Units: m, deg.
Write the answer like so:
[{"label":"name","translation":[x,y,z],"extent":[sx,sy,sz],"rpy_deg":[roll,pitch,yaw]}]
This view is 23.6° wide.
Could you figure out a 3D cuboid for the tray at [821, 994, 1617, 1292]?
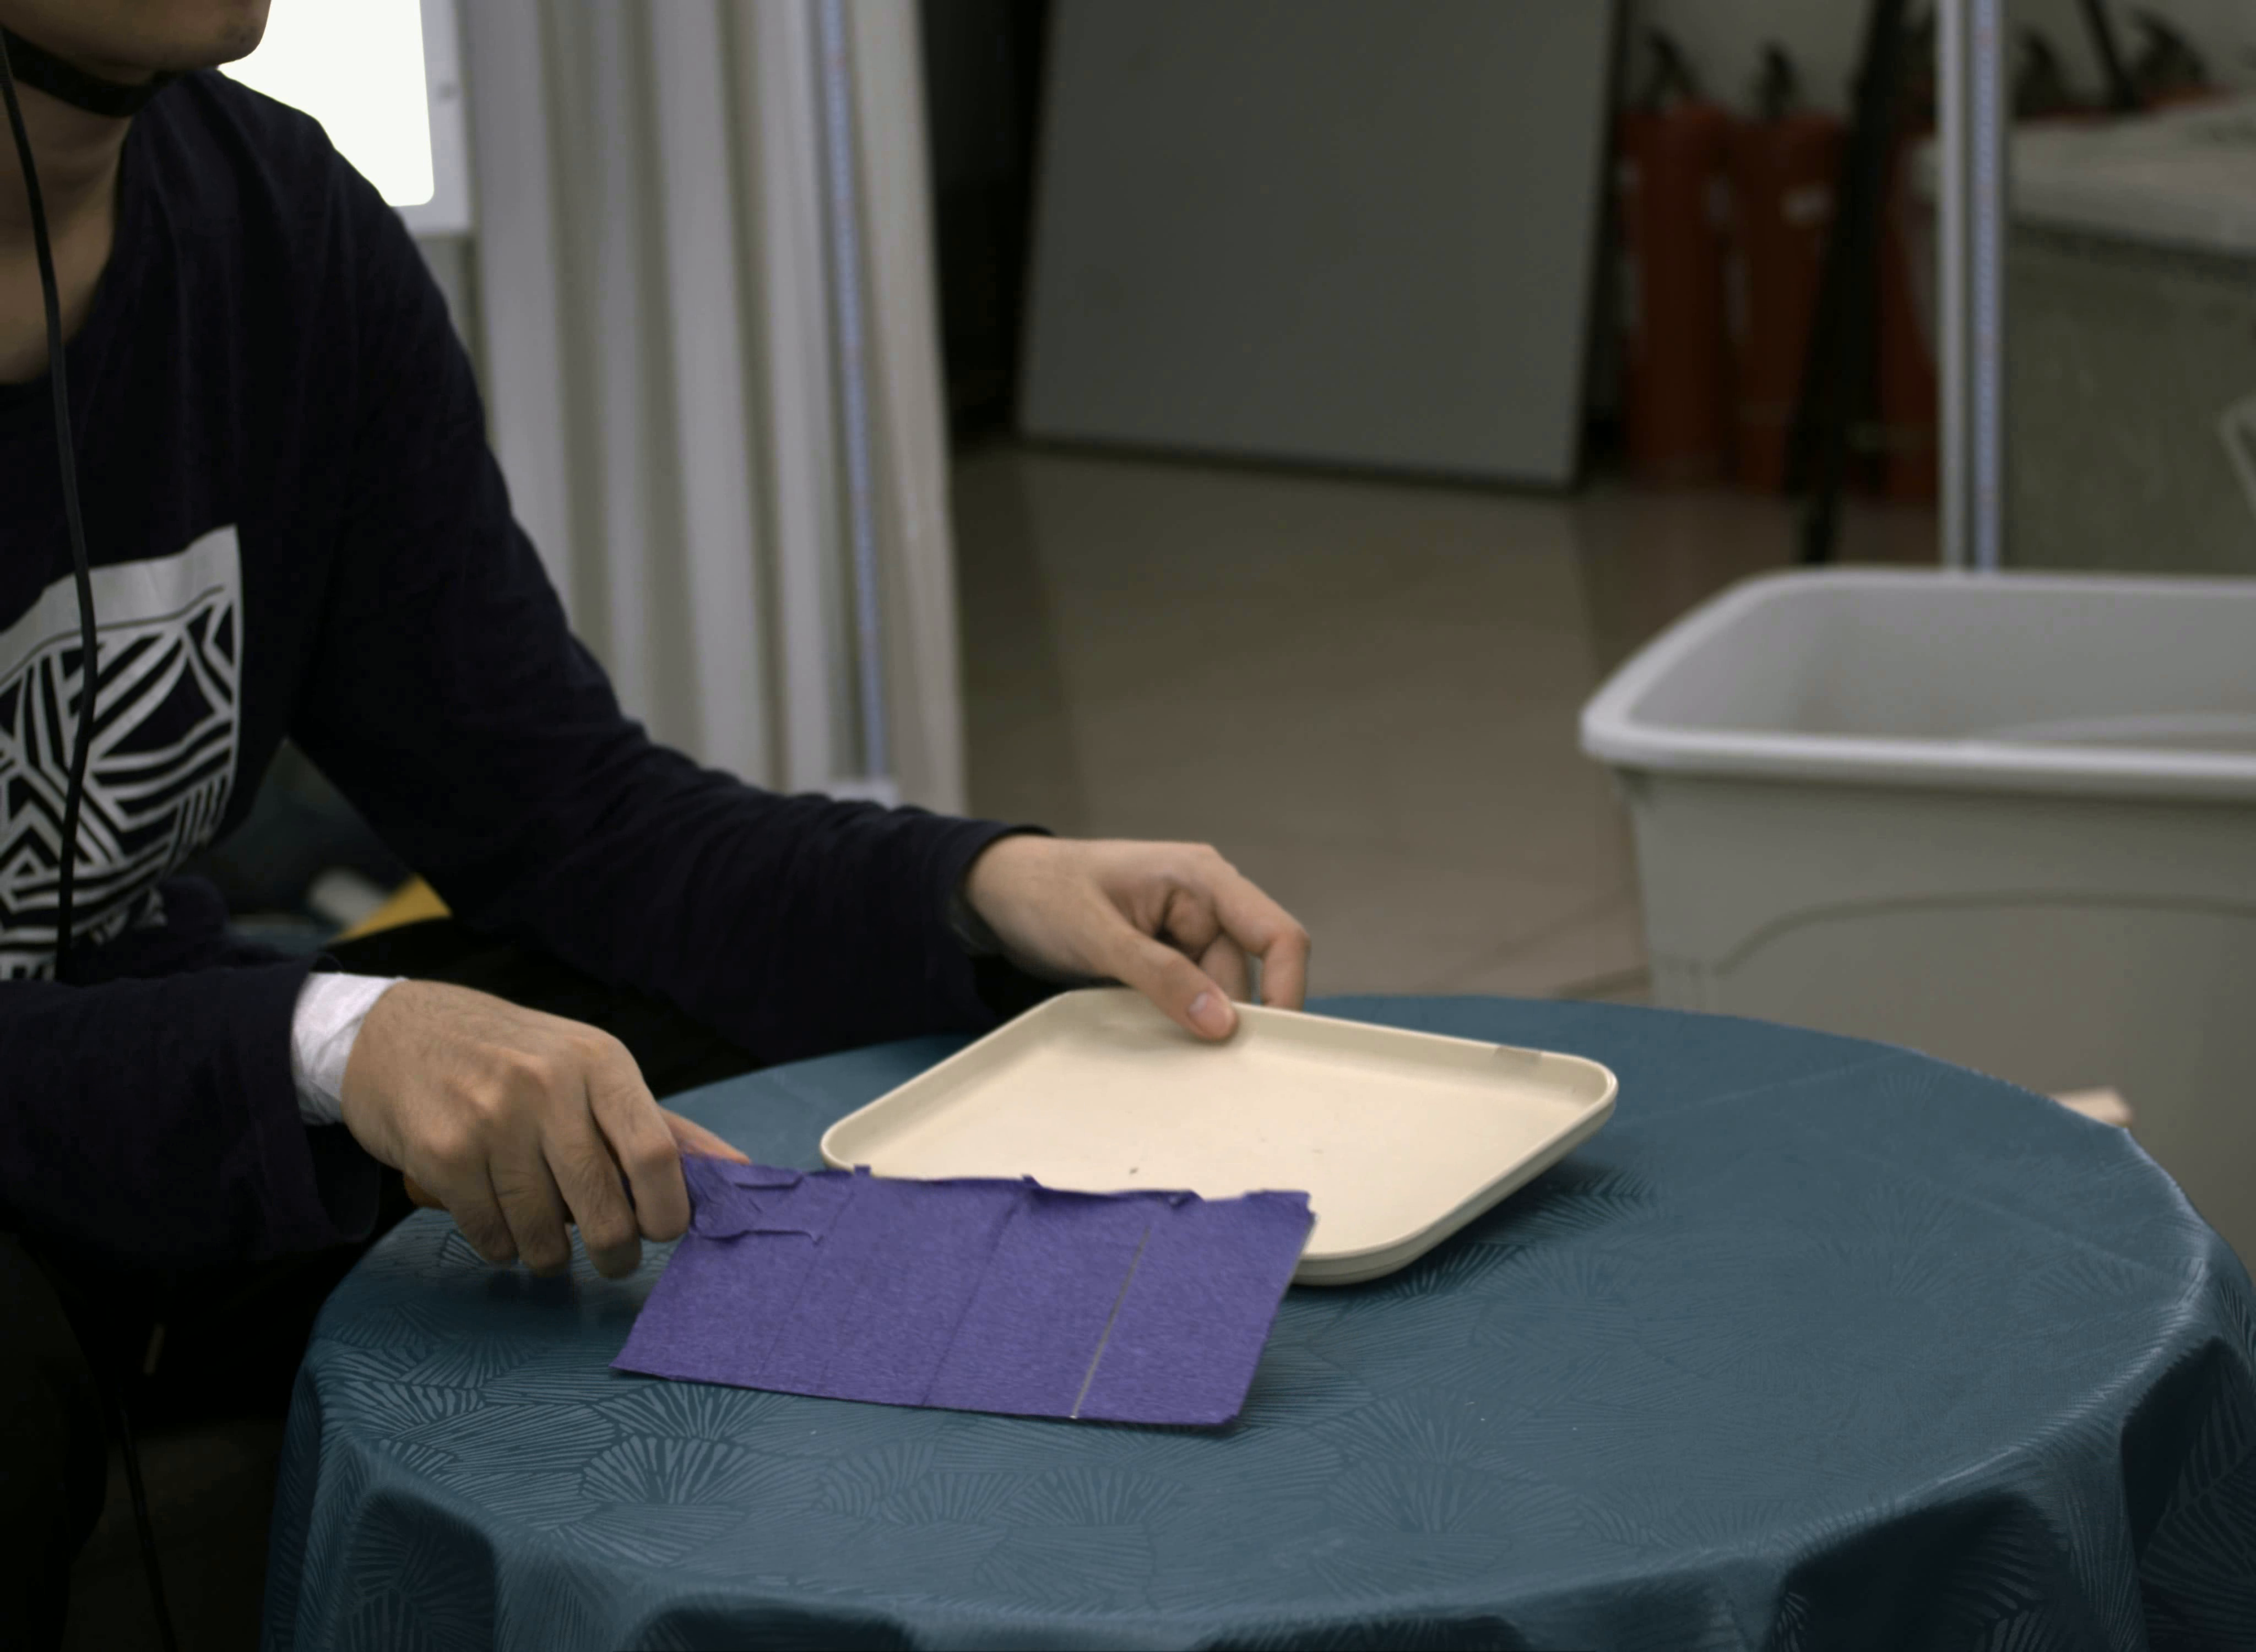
[{"label":"tray","translation":[0.030,0.103,1.773],"extent":[0.241,0.017,0.168],"rpy_deg":[7,24,38]}]

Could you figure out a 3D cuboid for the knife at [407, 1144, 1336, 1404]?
[{"label":"knife","translation":[-0.093,0.135,1.636],"extent":[0.316,0.032,0.103],"rpy_deg":[0,38,27]}]
